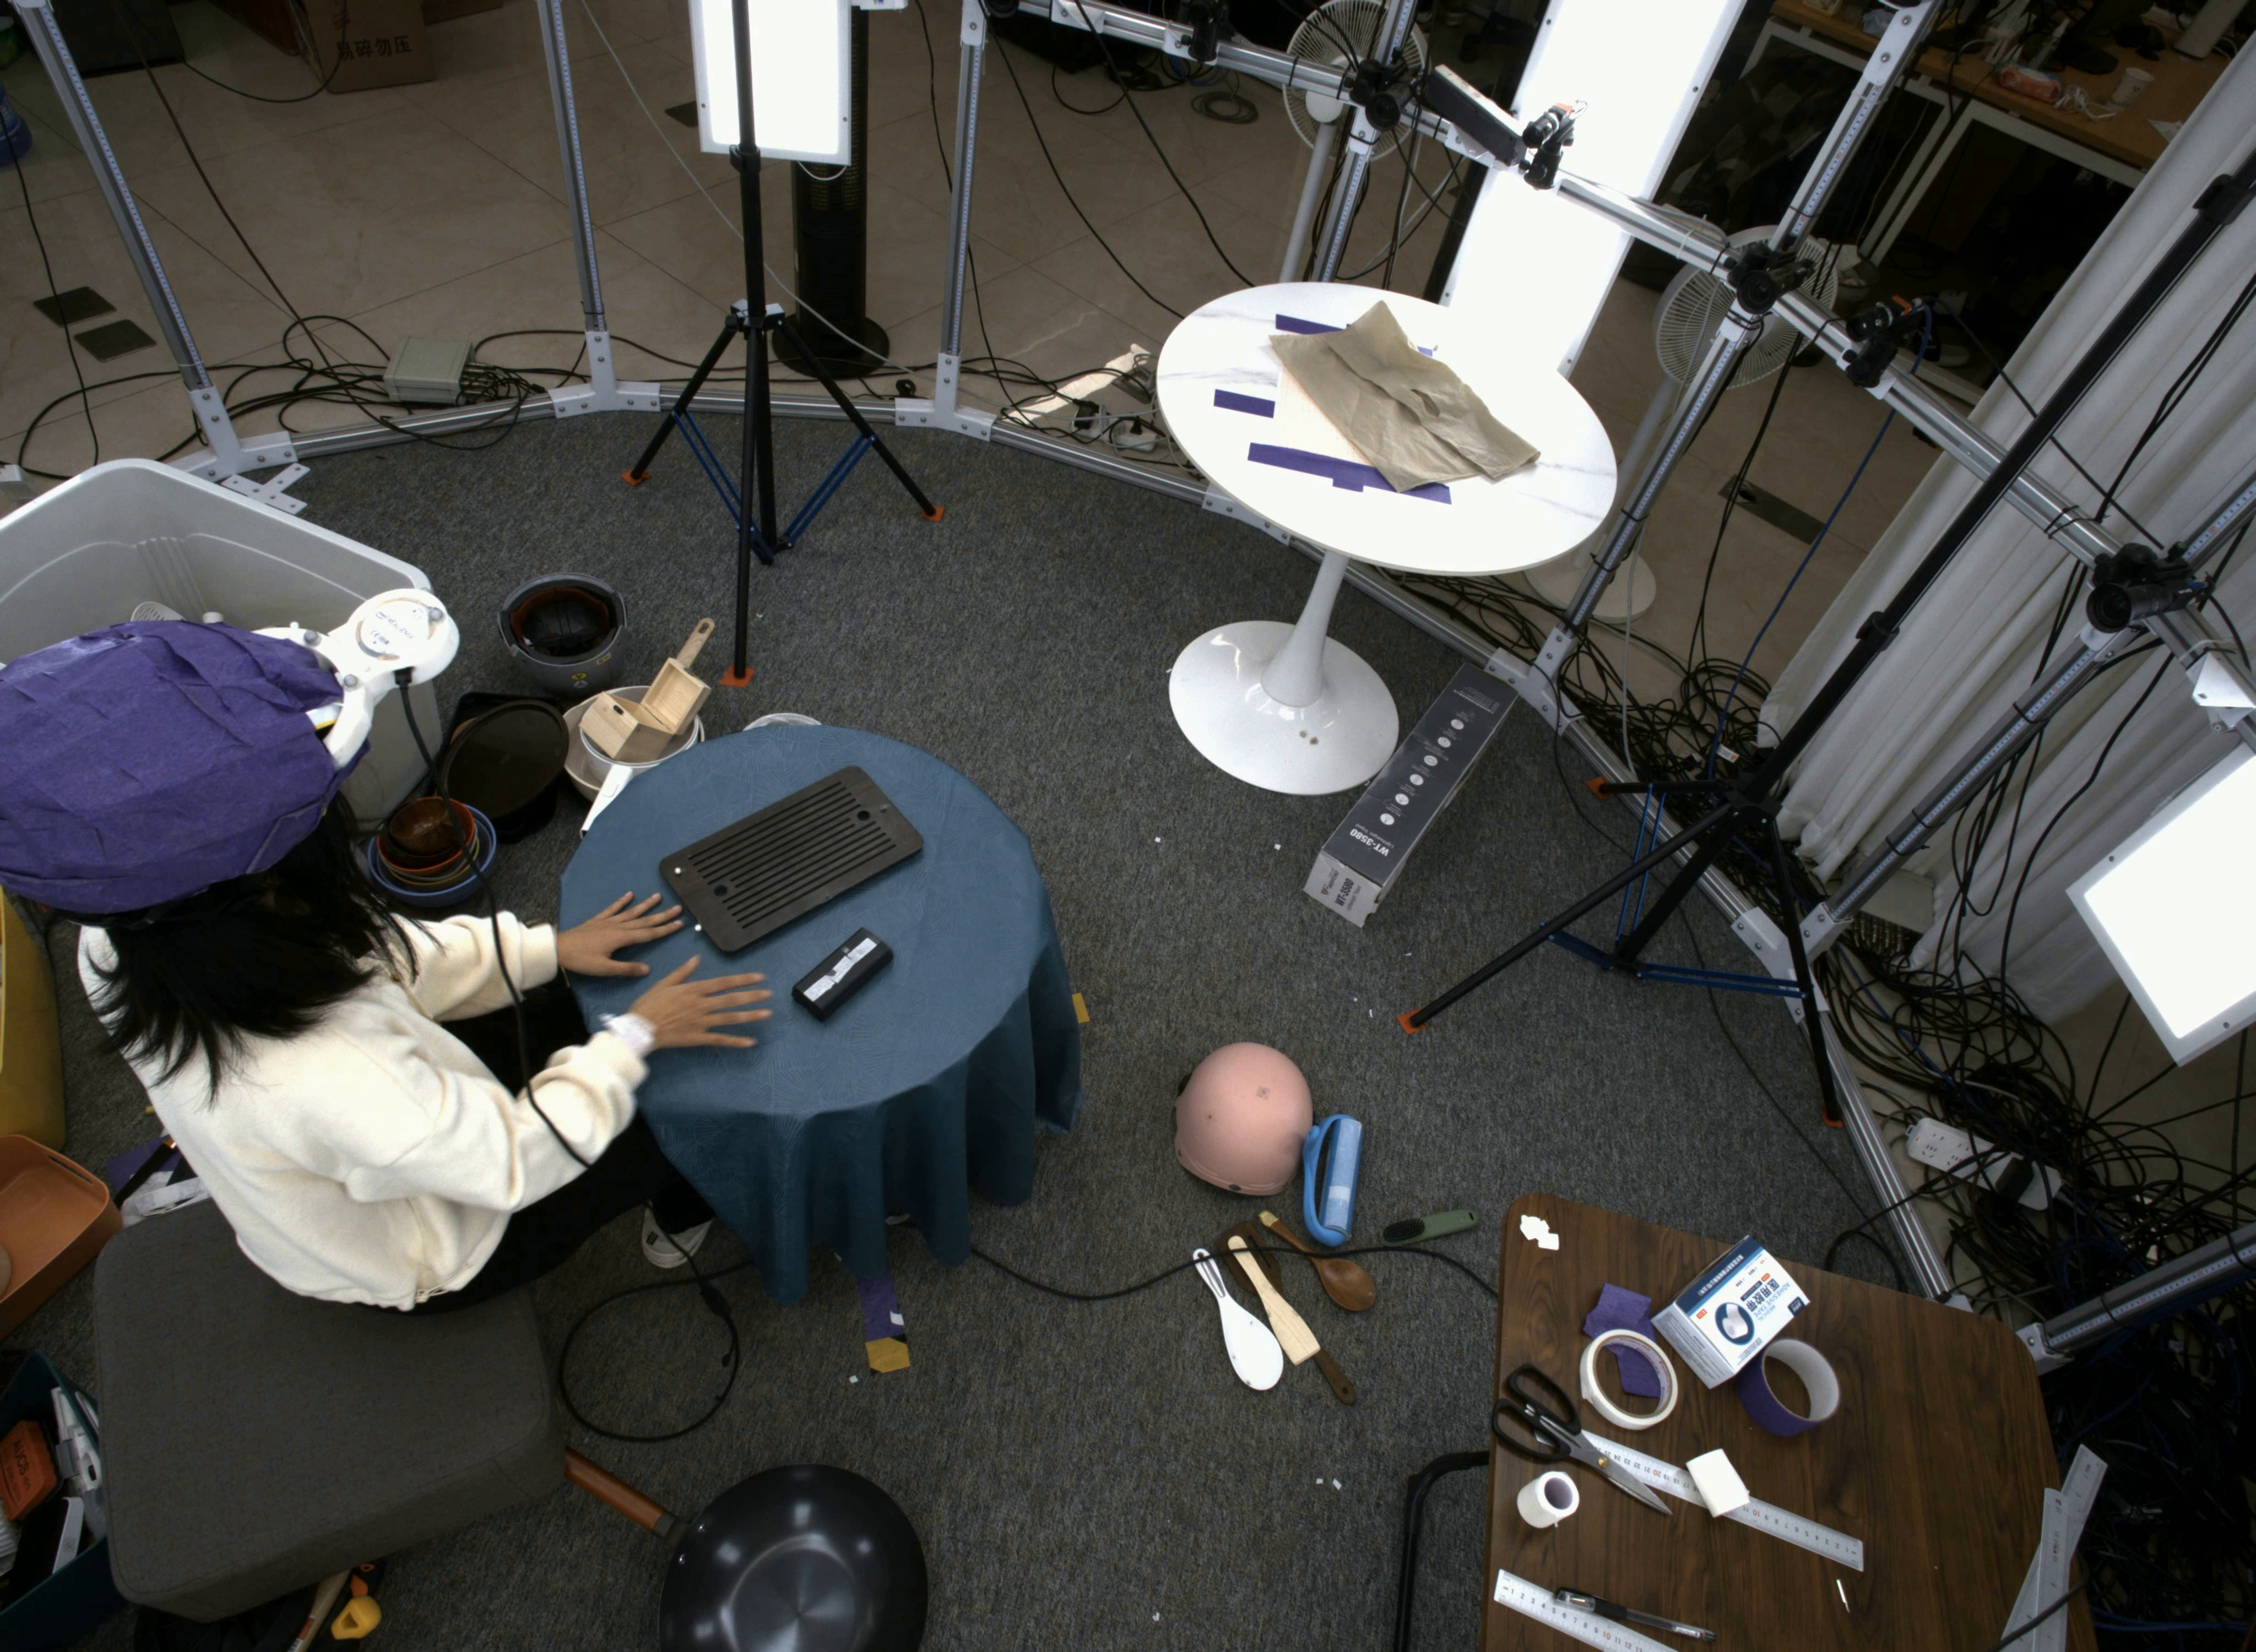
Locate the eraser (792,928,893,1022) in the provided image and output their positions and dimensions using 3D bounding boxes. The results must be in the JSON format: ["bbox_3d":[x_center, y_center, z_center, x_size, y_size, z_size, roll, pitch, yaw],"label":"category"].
[{"bbox_3d":[-0.347,0.178,1.588,0.052,0.031,0.125,33,53,16],"label":"eraser"}]

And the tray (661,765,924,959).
[{"bbox_3d":[-0.430,0.040,1.676,0.307,0.019,0.166,-32,67,-32],"label":"tray"}]
